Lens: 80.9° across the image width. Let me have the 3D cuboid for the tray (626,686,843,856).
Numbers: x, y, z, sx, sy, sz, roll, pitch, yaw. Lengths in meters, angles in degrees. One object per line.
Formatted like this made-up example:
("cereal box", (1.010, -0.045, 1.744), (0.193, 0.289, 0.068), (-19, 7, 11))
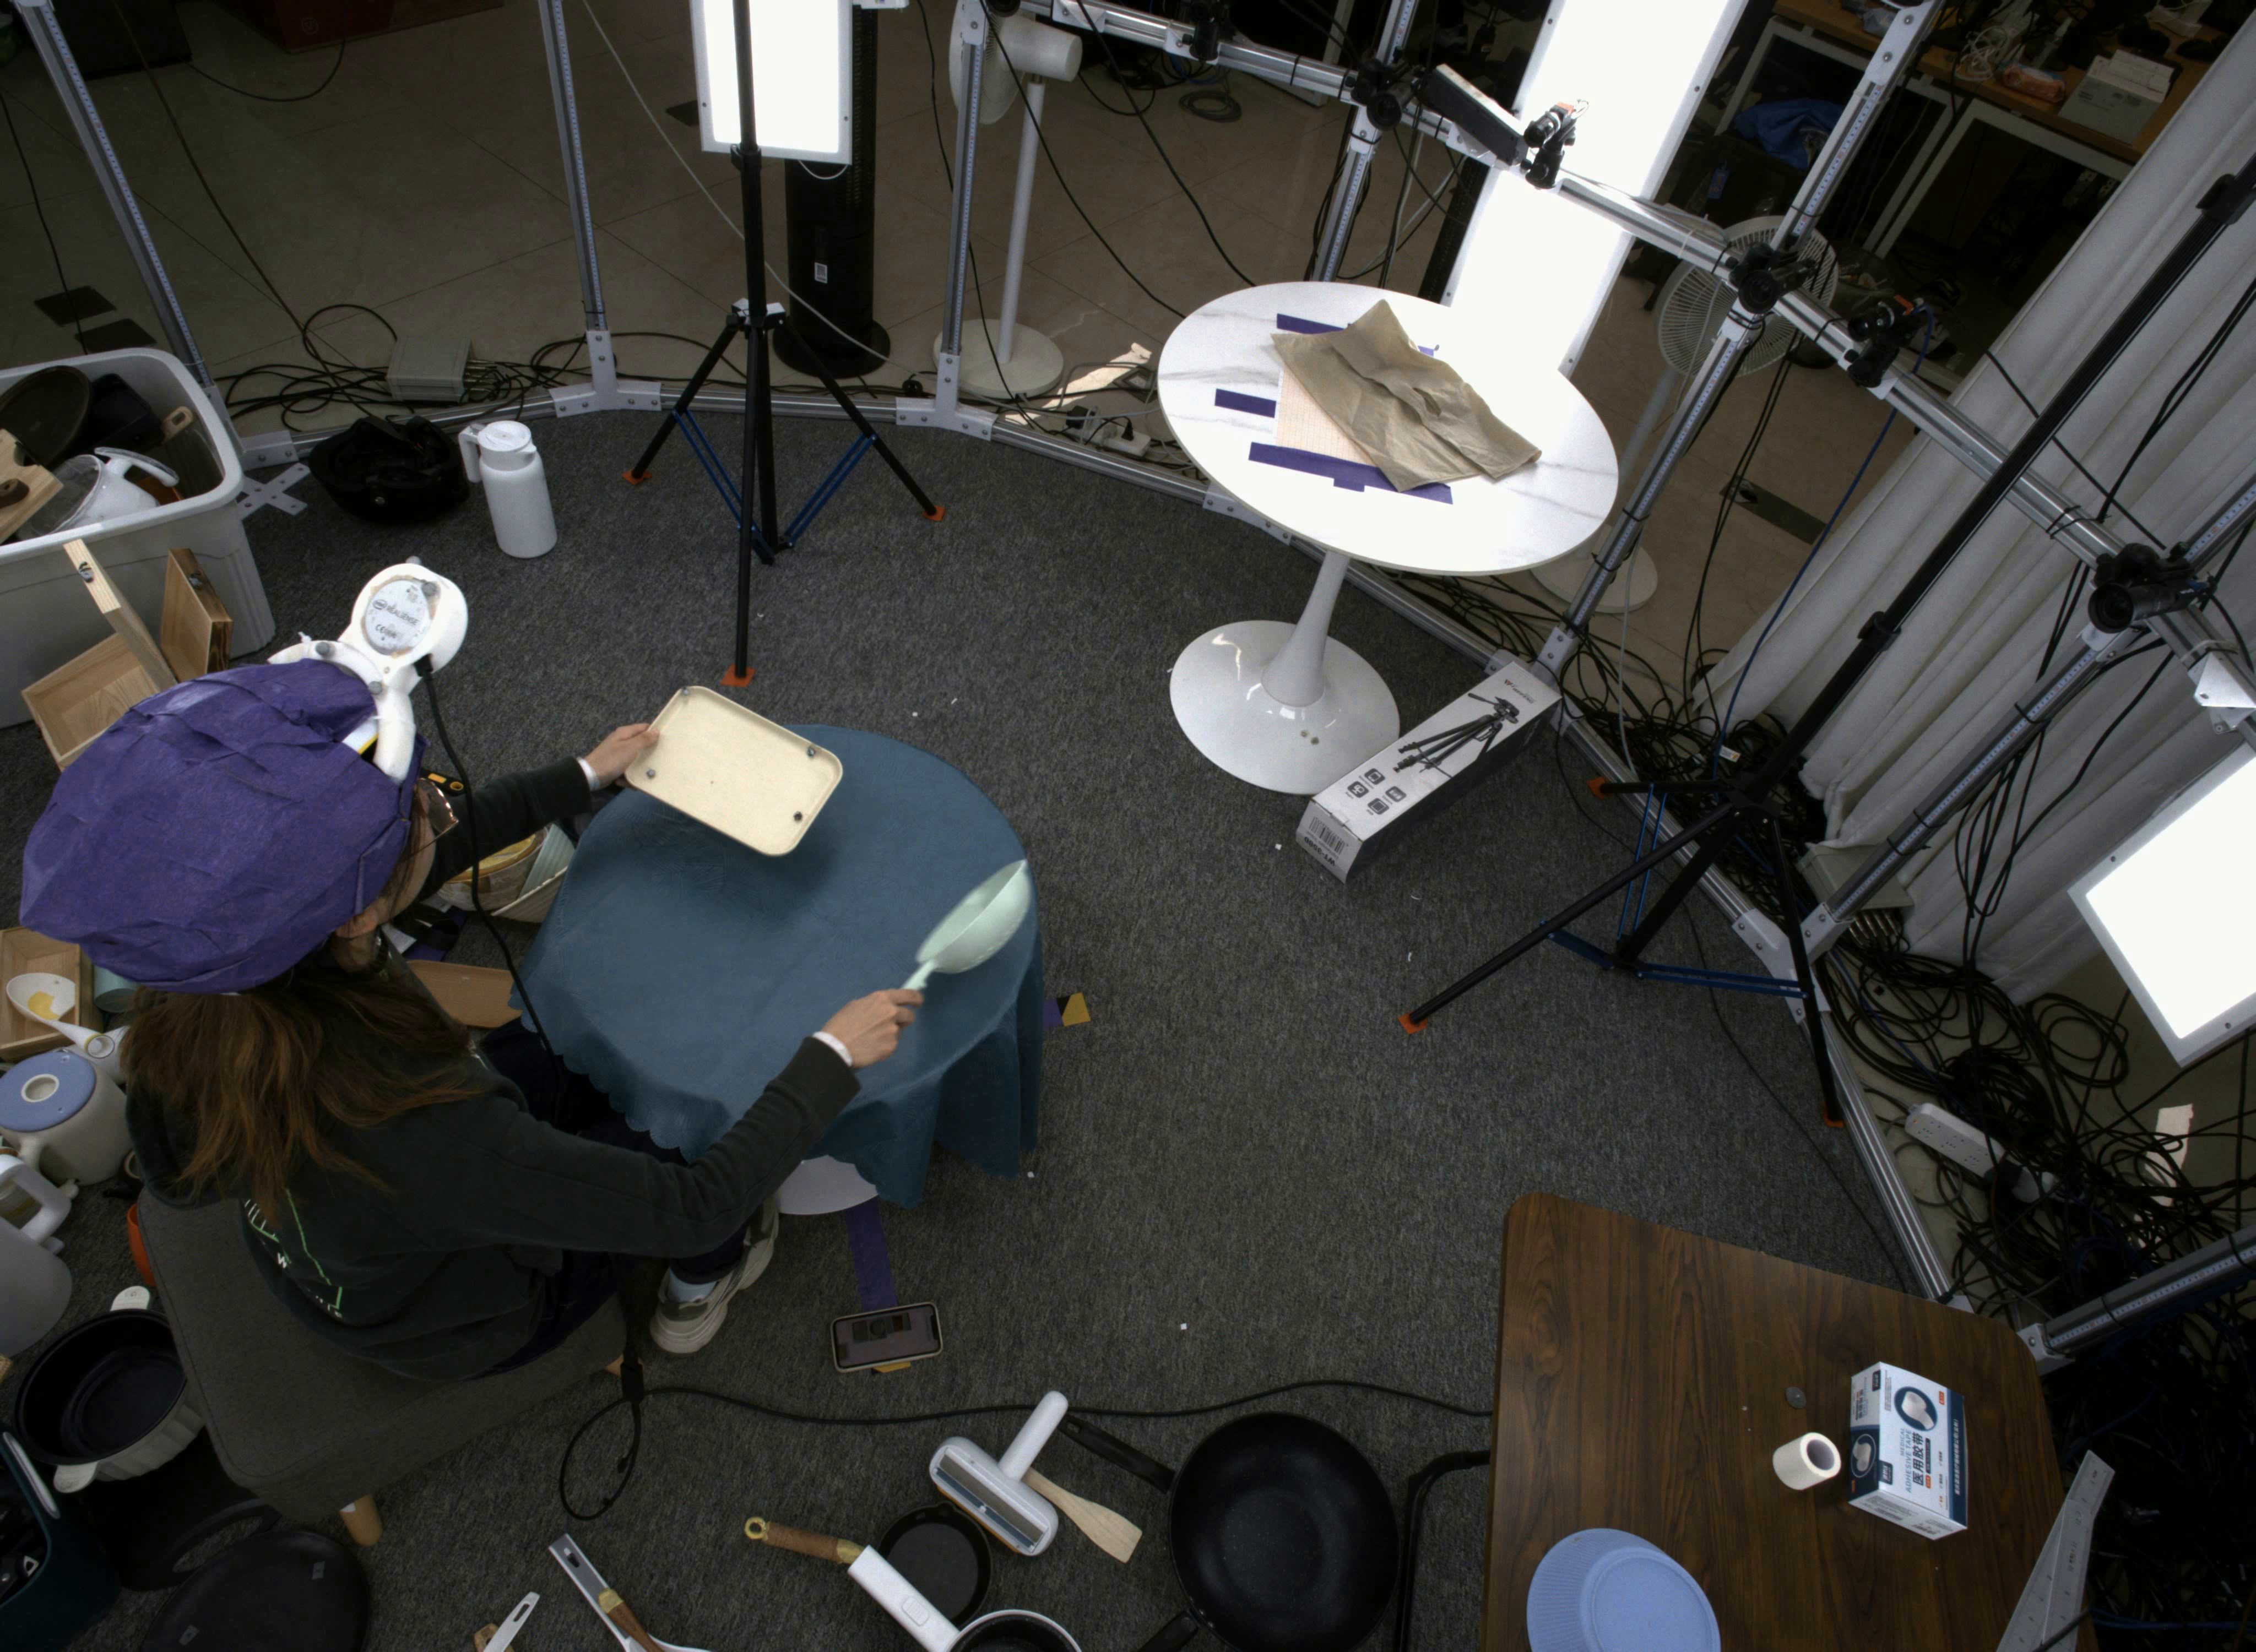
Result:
("tray", (-0.495, -0.070, 1.624), (0.239, 0.017, 0.170), (27, 58, -3))

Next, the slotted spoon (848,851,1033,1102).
("slotted spoon", (-0.223, 0.168, 1.511), (0.076, 0.168, 0.358), (49, 52, -4))
